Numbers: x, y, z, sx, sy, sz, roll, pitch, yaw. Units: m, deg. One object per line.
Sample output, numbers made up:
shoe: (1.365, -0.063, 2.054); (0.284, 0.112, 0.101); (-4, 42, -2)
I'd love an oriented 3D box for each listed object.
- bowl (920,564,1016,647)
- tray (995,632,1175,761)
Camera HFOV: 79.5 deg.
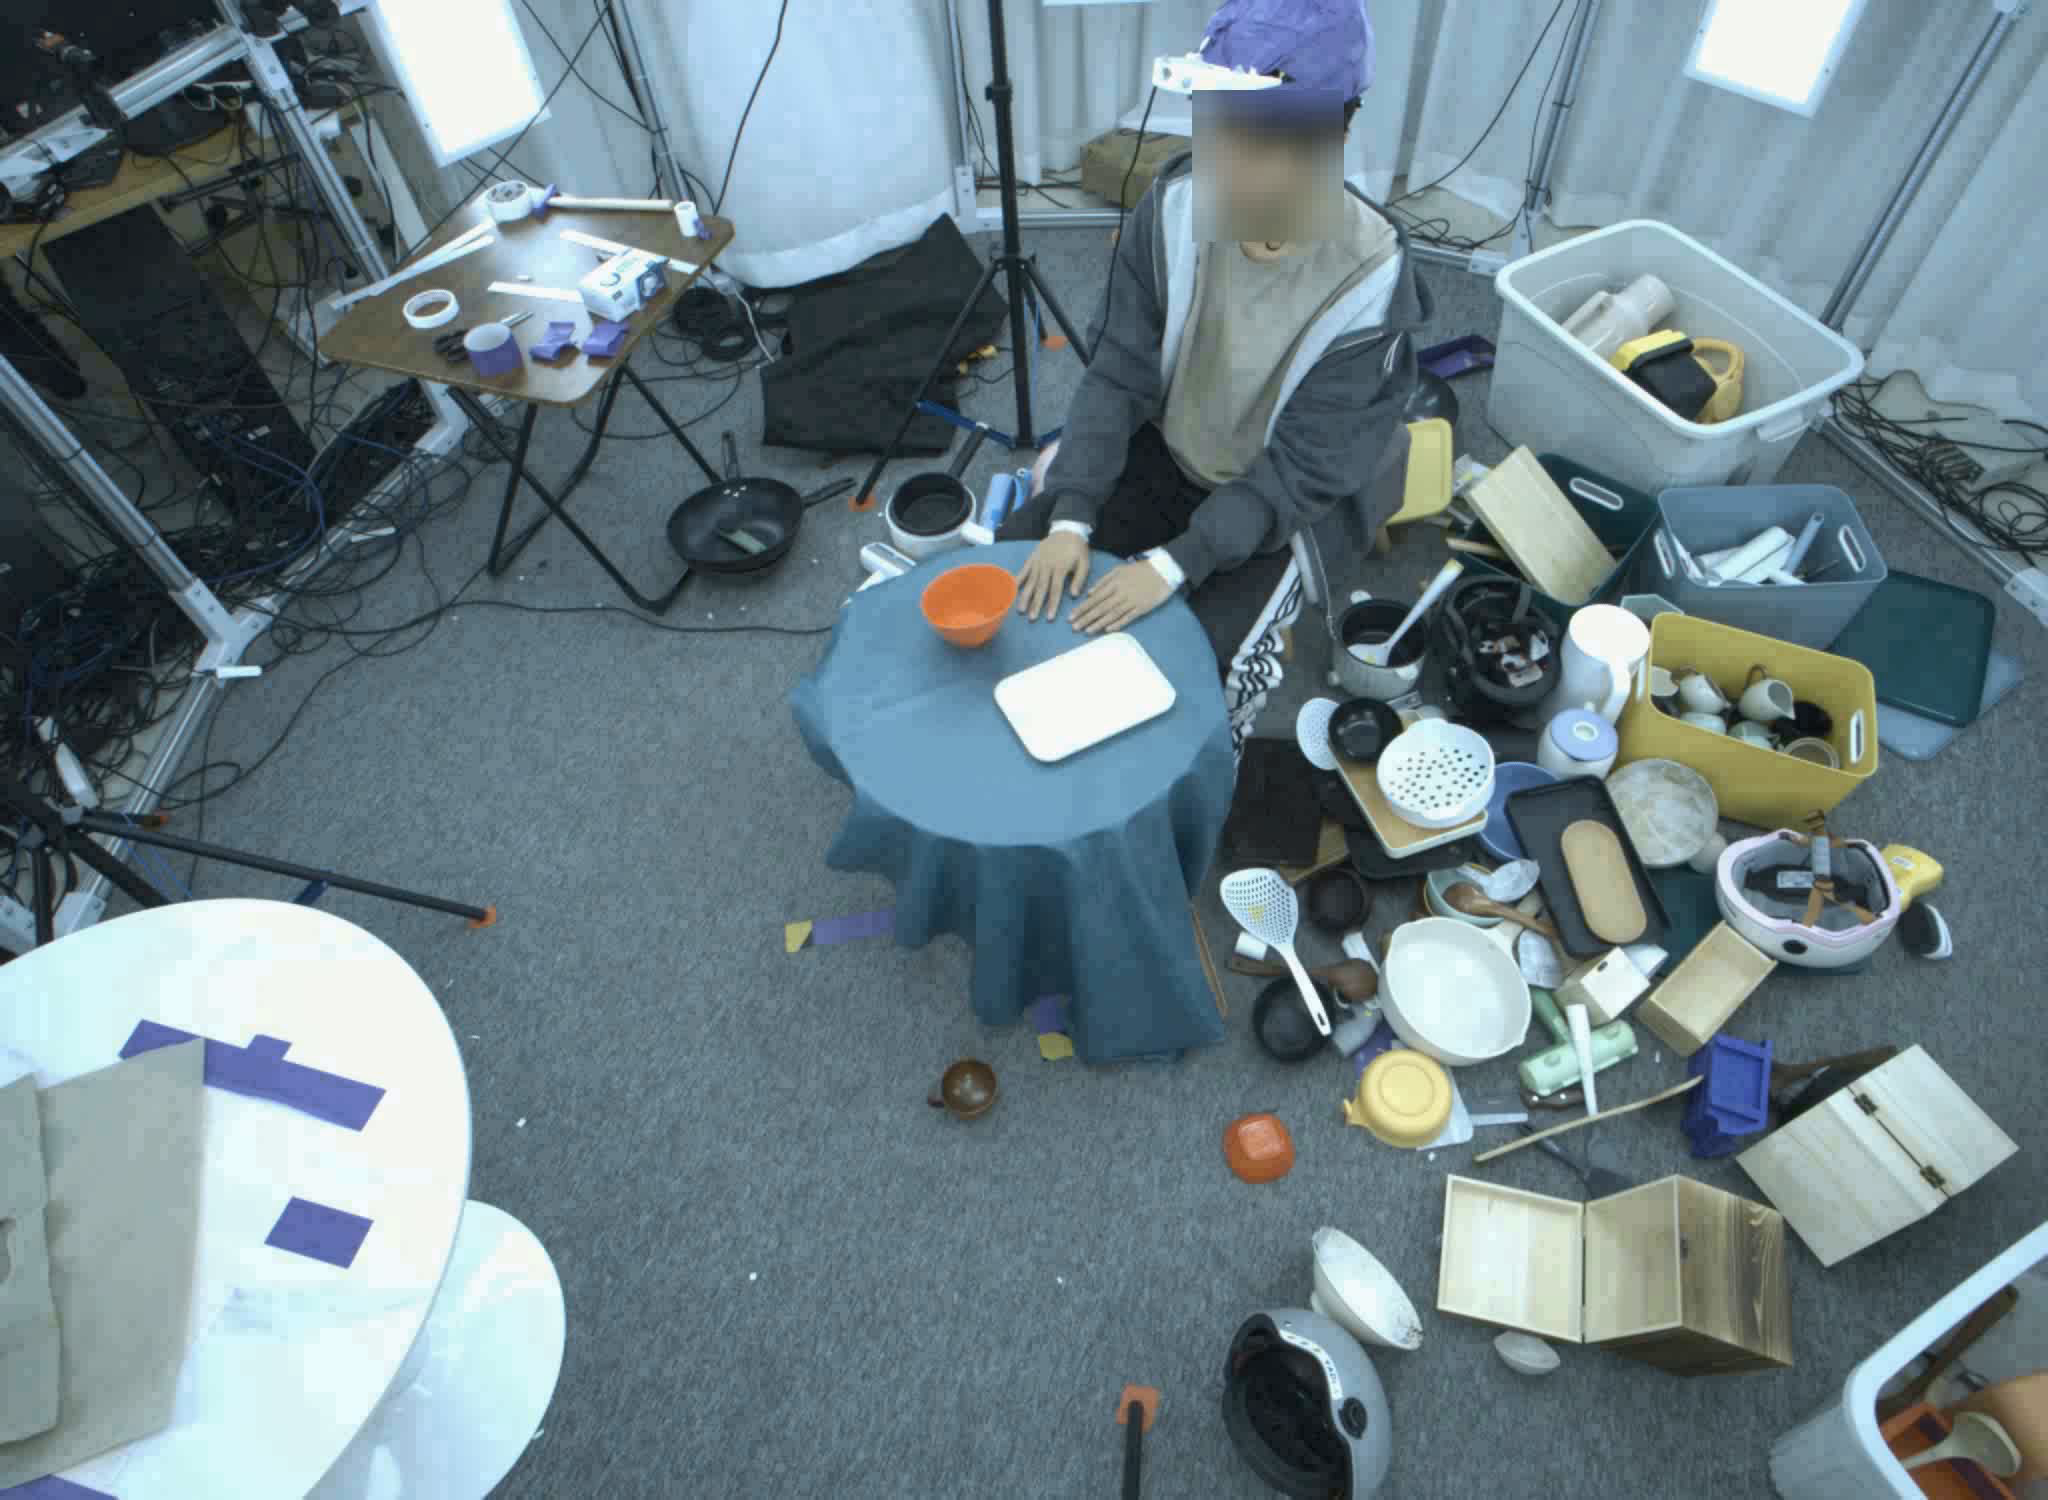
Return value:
bowl: (-0.082, -0.208, 1.879); (0.148, 0.106, 0.146); (-1, 56, 3)
tray: (0.090, -0.080, 1.833); (0.241, 0.017, 0.168); (-24, 57, -15)
